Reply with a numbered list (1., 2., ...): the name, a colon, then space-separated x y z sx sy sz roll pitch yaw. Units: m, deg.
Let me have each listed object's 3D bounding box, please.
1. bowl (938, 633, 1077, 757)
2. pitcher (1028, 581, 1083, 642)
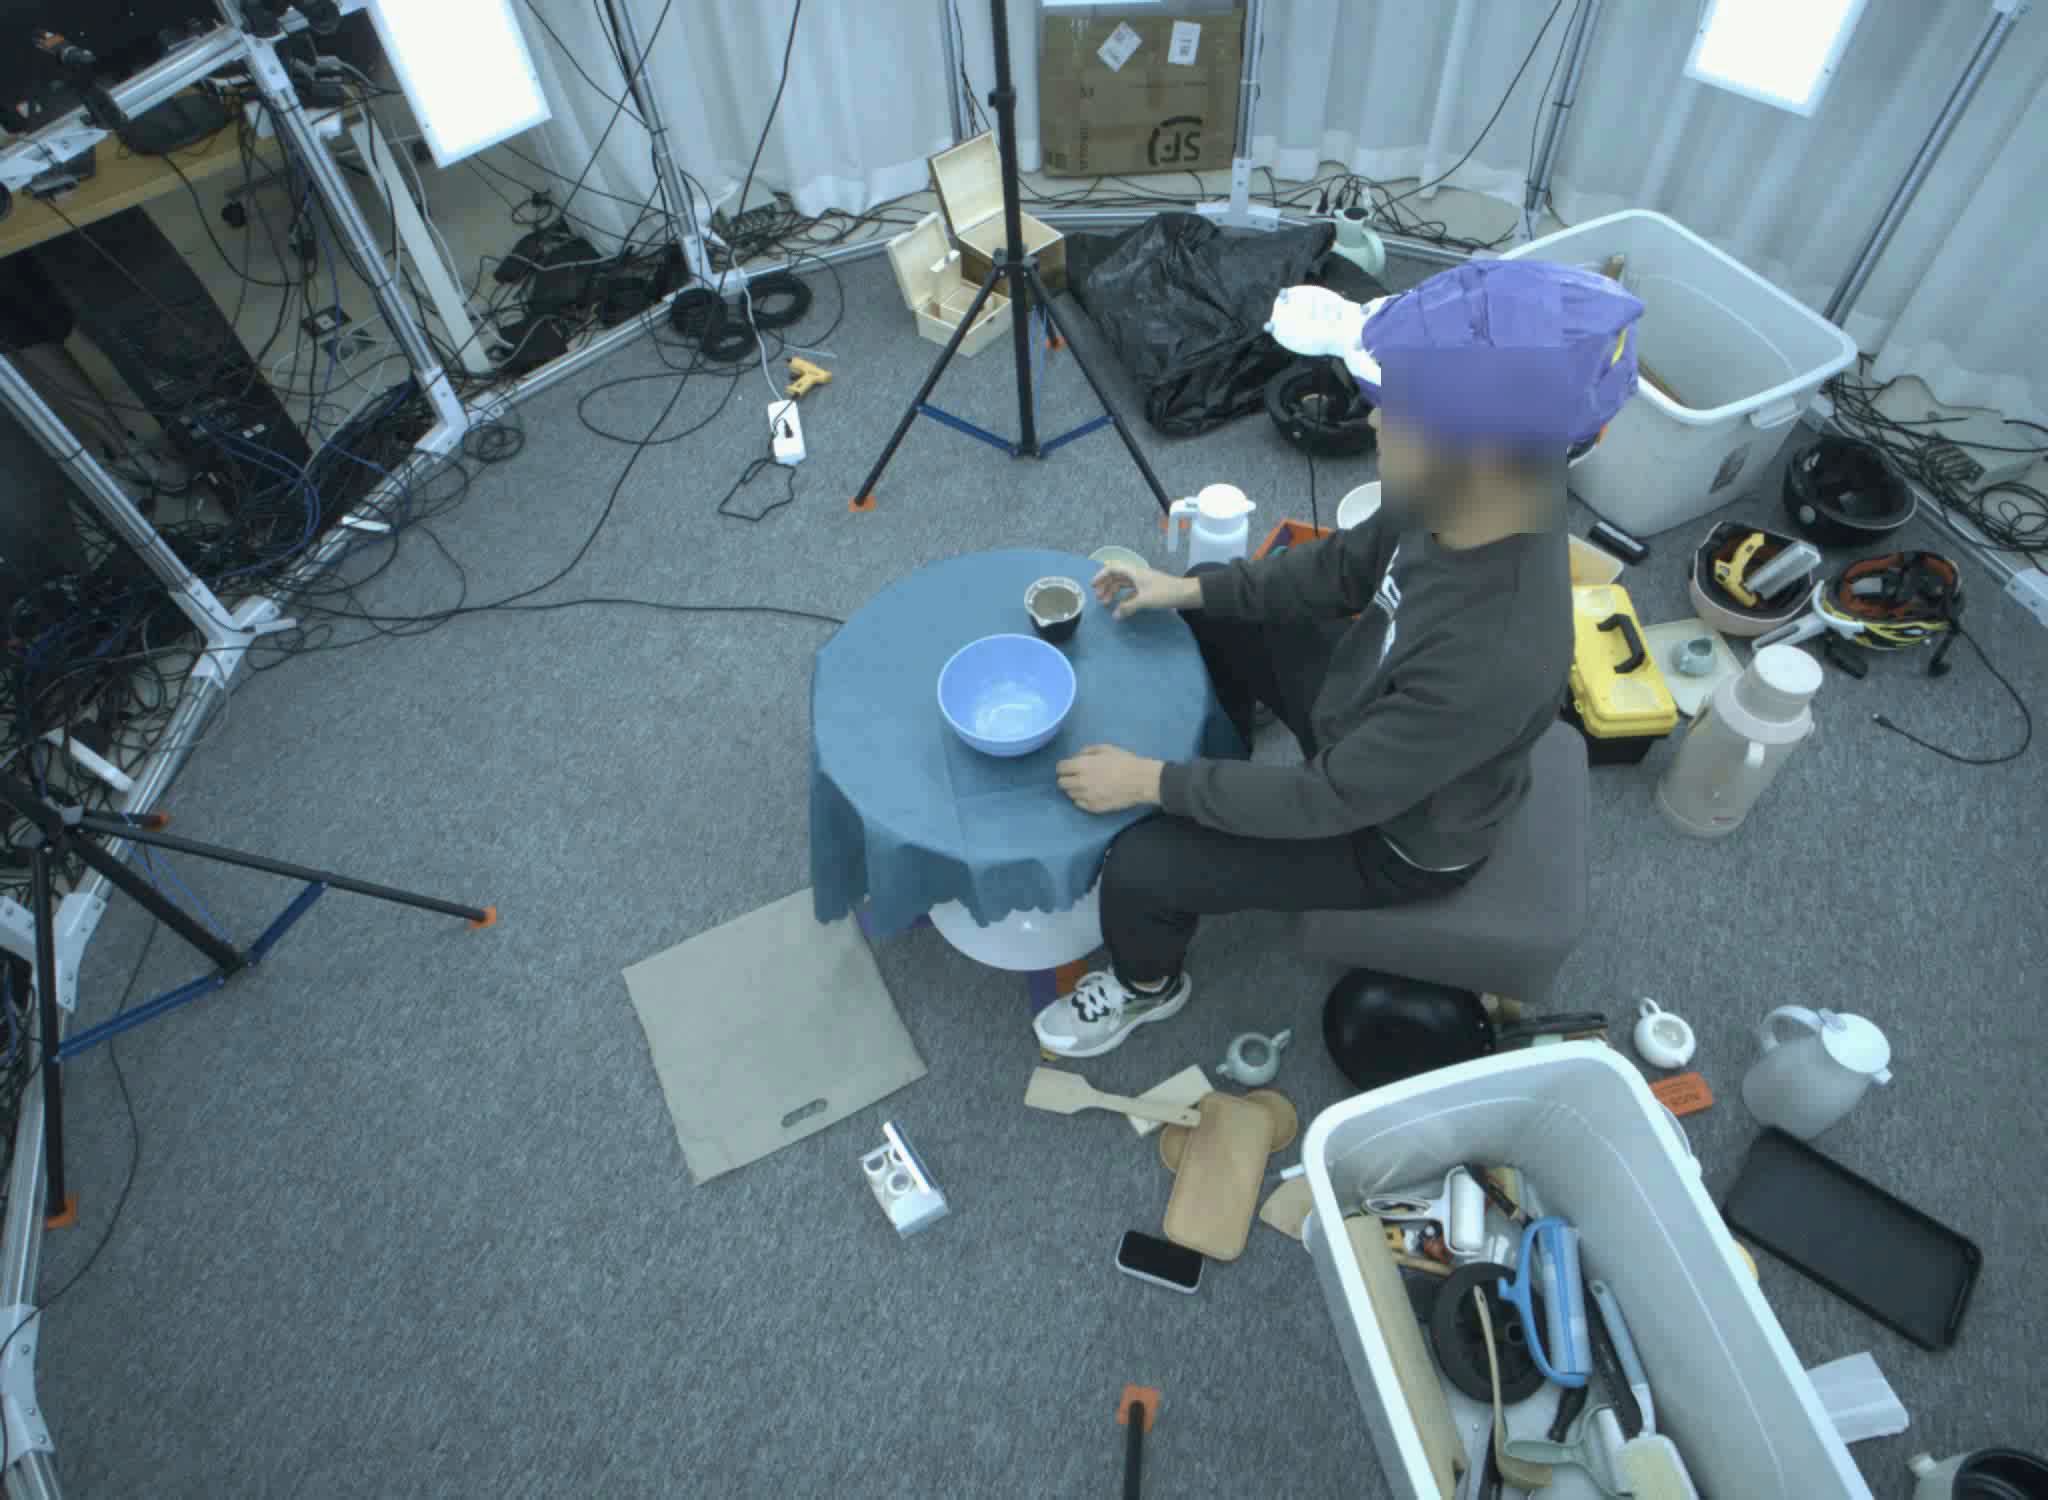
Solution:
1. bowl: -0.022 -0.063 1.777 0.196 0.096 0.194 1 56 0
2. pitcher: 0.046 -0.205 1.885 0.083 0.072 0.096 16 56 12
